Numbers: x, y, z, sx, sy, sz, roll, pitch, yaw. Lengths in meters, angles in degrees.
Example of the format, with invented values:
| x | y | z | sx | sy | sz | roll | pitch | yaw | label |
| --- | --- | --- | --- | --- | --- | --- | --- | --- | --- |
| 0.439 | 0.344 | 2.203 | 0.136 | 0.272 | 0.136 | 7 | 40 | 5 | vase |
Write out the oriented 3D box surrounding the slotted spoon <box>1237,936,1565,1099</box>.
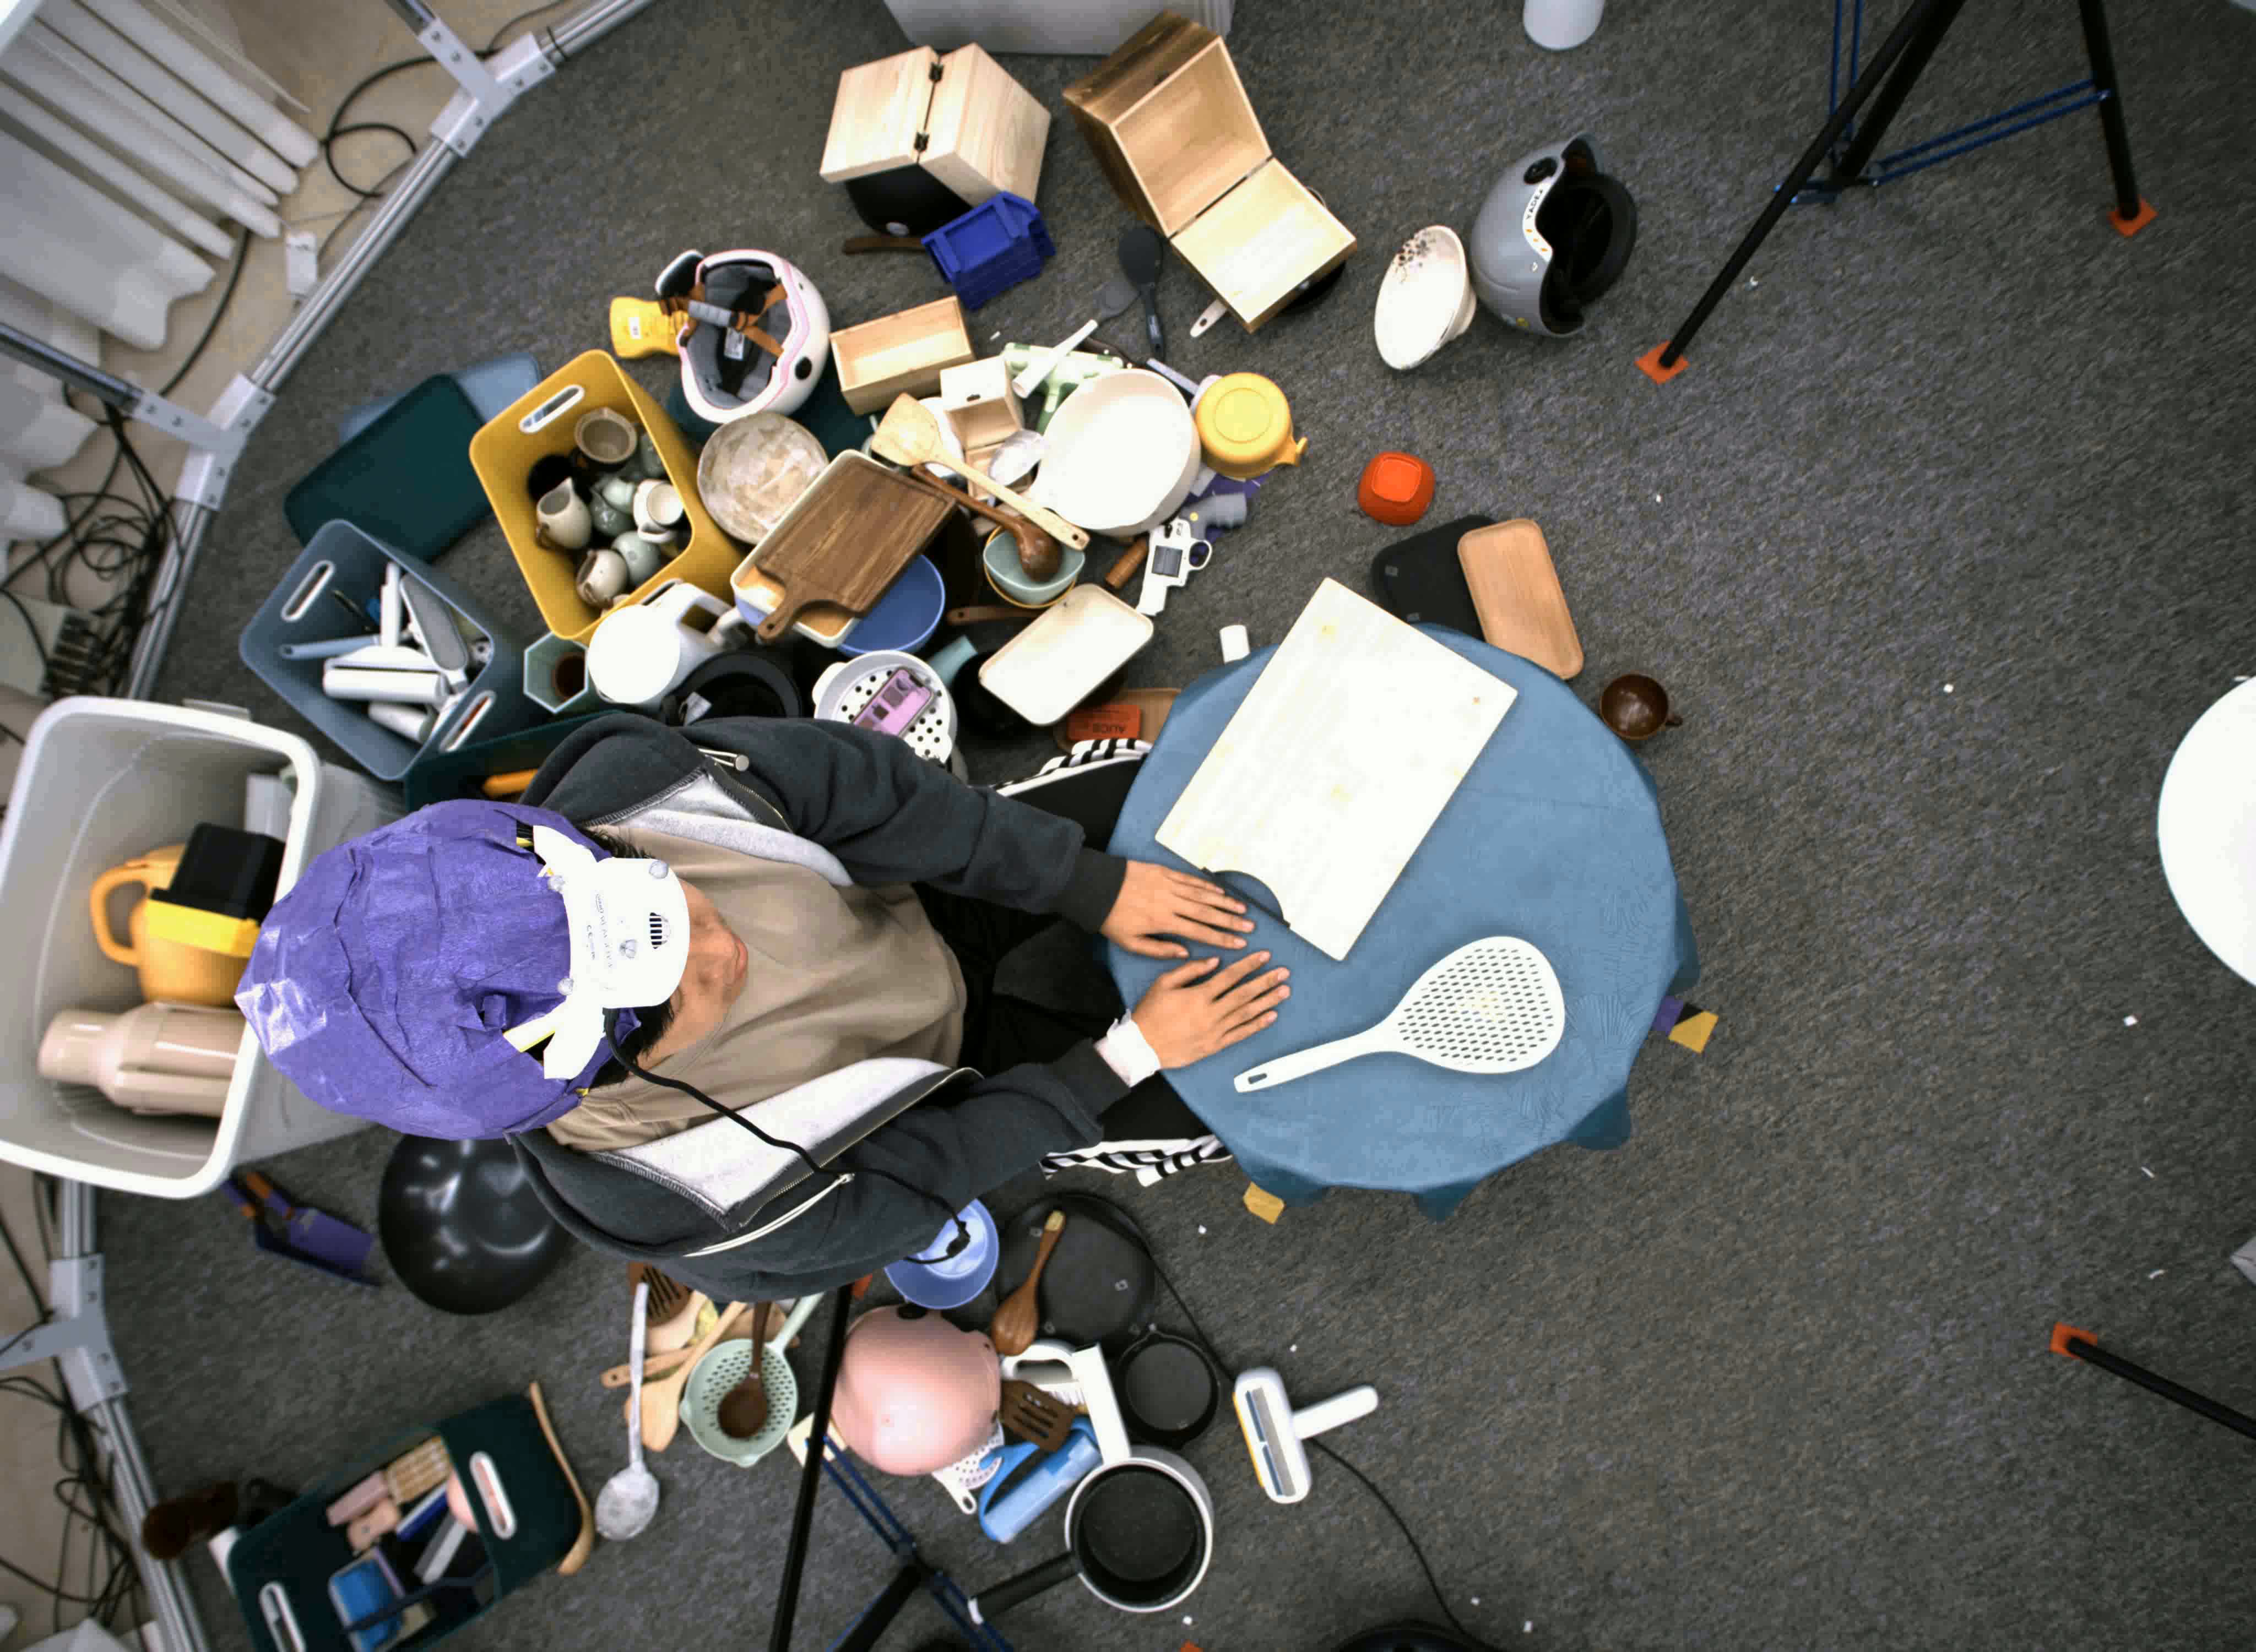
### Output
| x | y | z | sx | sy | sz | roll | pitch | yaw | label |
| --- | --- | --- | --- | --- | --- | --- | --- | --- | --- |
| 0.274 | 0.216 | 1.430 | 0.350 | 0.050 | 0.136 | -19 | 86 | 9 | slotted spoon |

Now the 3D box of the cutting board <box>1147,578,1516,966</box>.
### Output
| x | y | z | sx | sy | sz | roll | pitch | yaw | label |
| --- | --- | --- | --- | --- | --- | --- | --- | --- | --- |
| 0.216 | -0.060 | 1.468 | 0.250 | 0.023 | 0.349 | 33 | 93 | 11 | cutting board |
